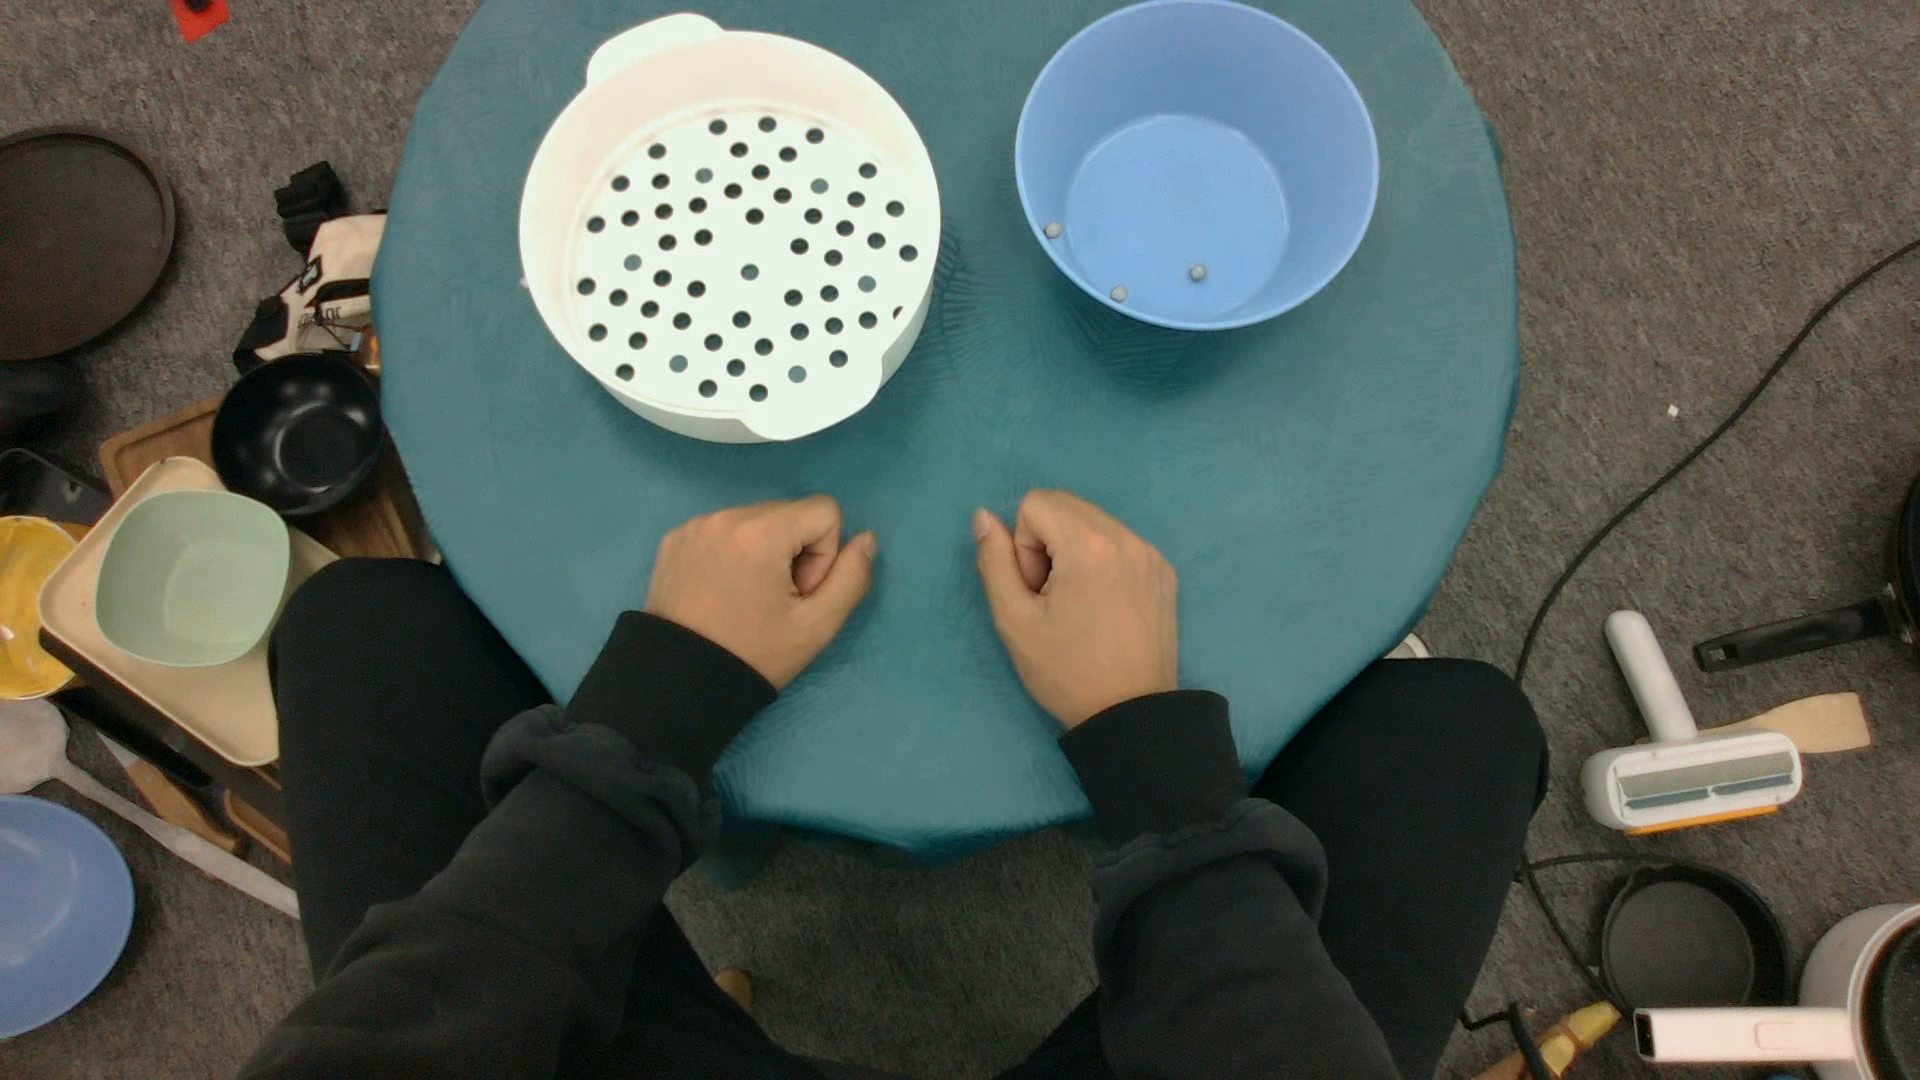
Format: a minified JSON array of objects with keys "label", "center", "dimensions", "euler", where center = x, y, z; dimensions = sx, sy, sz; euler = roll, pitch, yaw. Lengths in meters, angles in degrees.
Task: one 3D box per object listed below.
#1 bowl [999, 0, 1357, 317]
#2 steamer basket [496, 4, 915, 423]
[{"label":"bowl","center":[0.107,-0.184,0.703],"dimensions":[0.176,0.070,0.176],"euler":[0,76,0]},{"label":"steamer basket","center":[-0.123,-0.157,0.691],"dimensions":[0.202,0.069,0.231],"euler":[-25,76,-7]}]
